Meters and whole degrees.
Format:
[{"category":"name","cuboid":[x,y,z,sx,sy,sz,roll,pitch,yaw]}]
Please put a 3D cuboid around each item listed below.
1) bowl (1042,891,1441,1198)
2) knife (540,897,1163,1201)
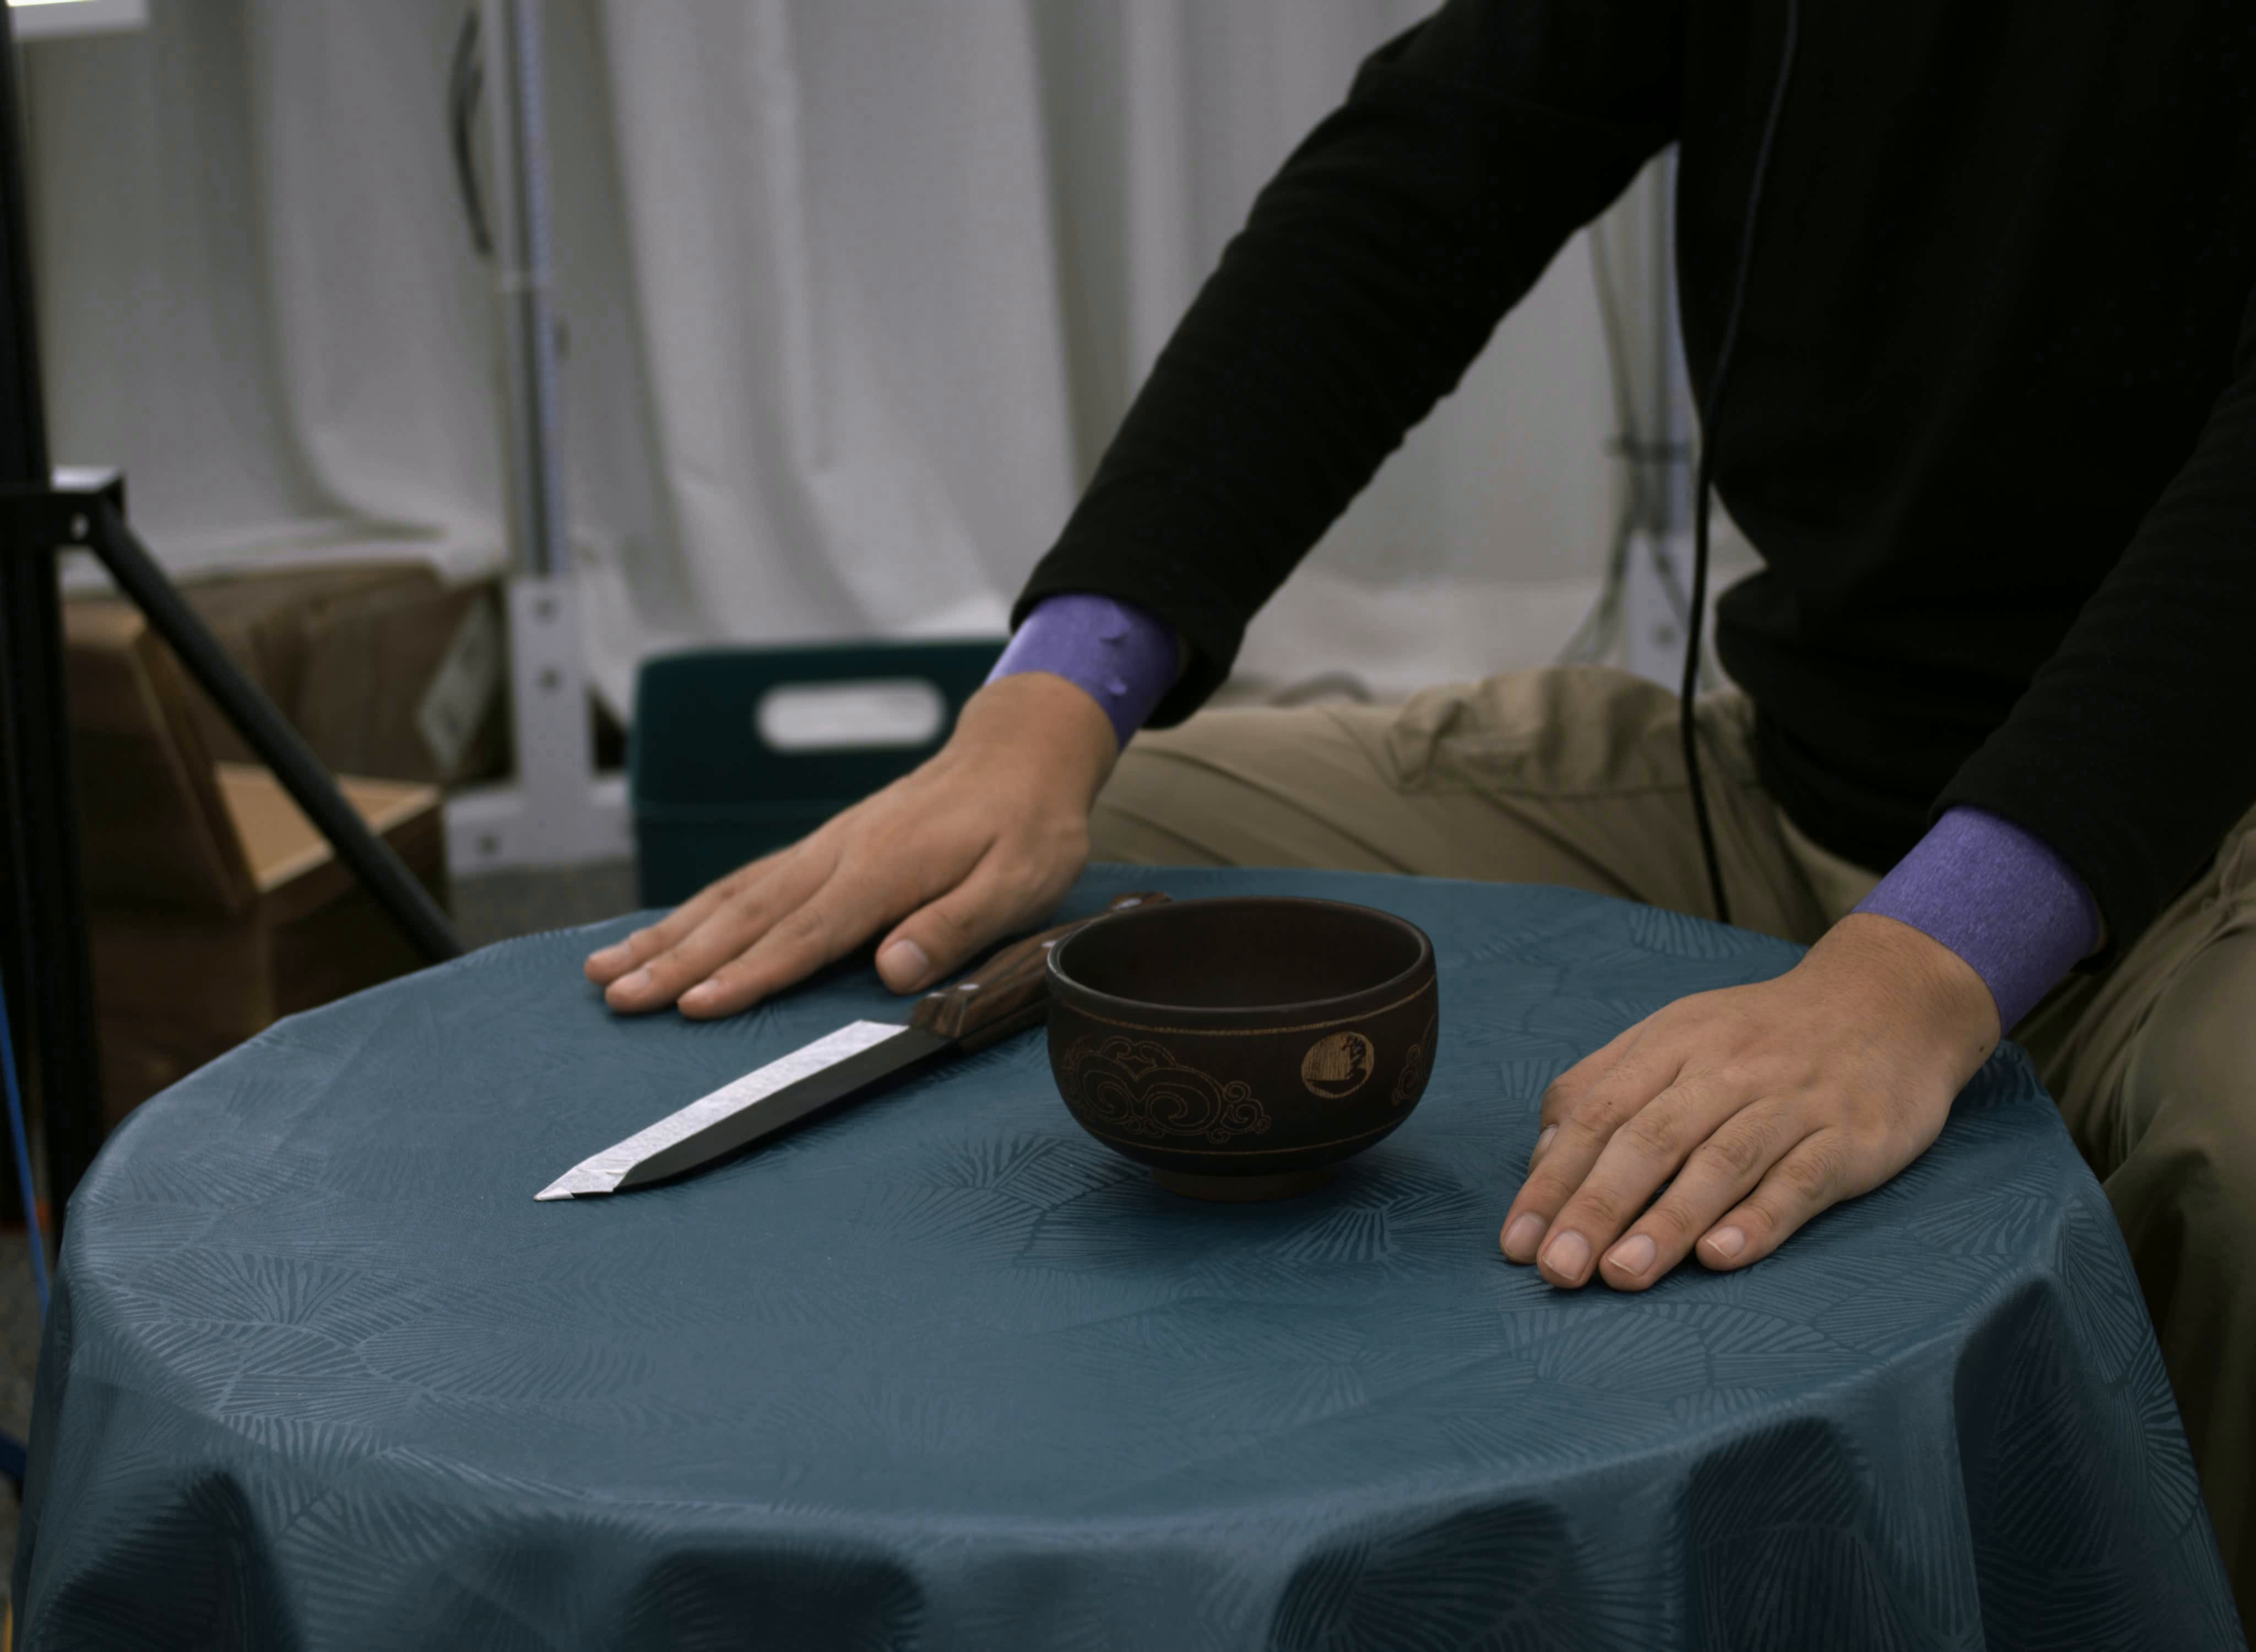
[{"category":"bowl","cuboid":[0.034,0.068,1.559,0.117,0.070,0.118,-2,15,-1]},{"category":"knife","cuboid":[-0.080,0.071,1.671,0.051,0.020,0.283,5,20,41]}]
